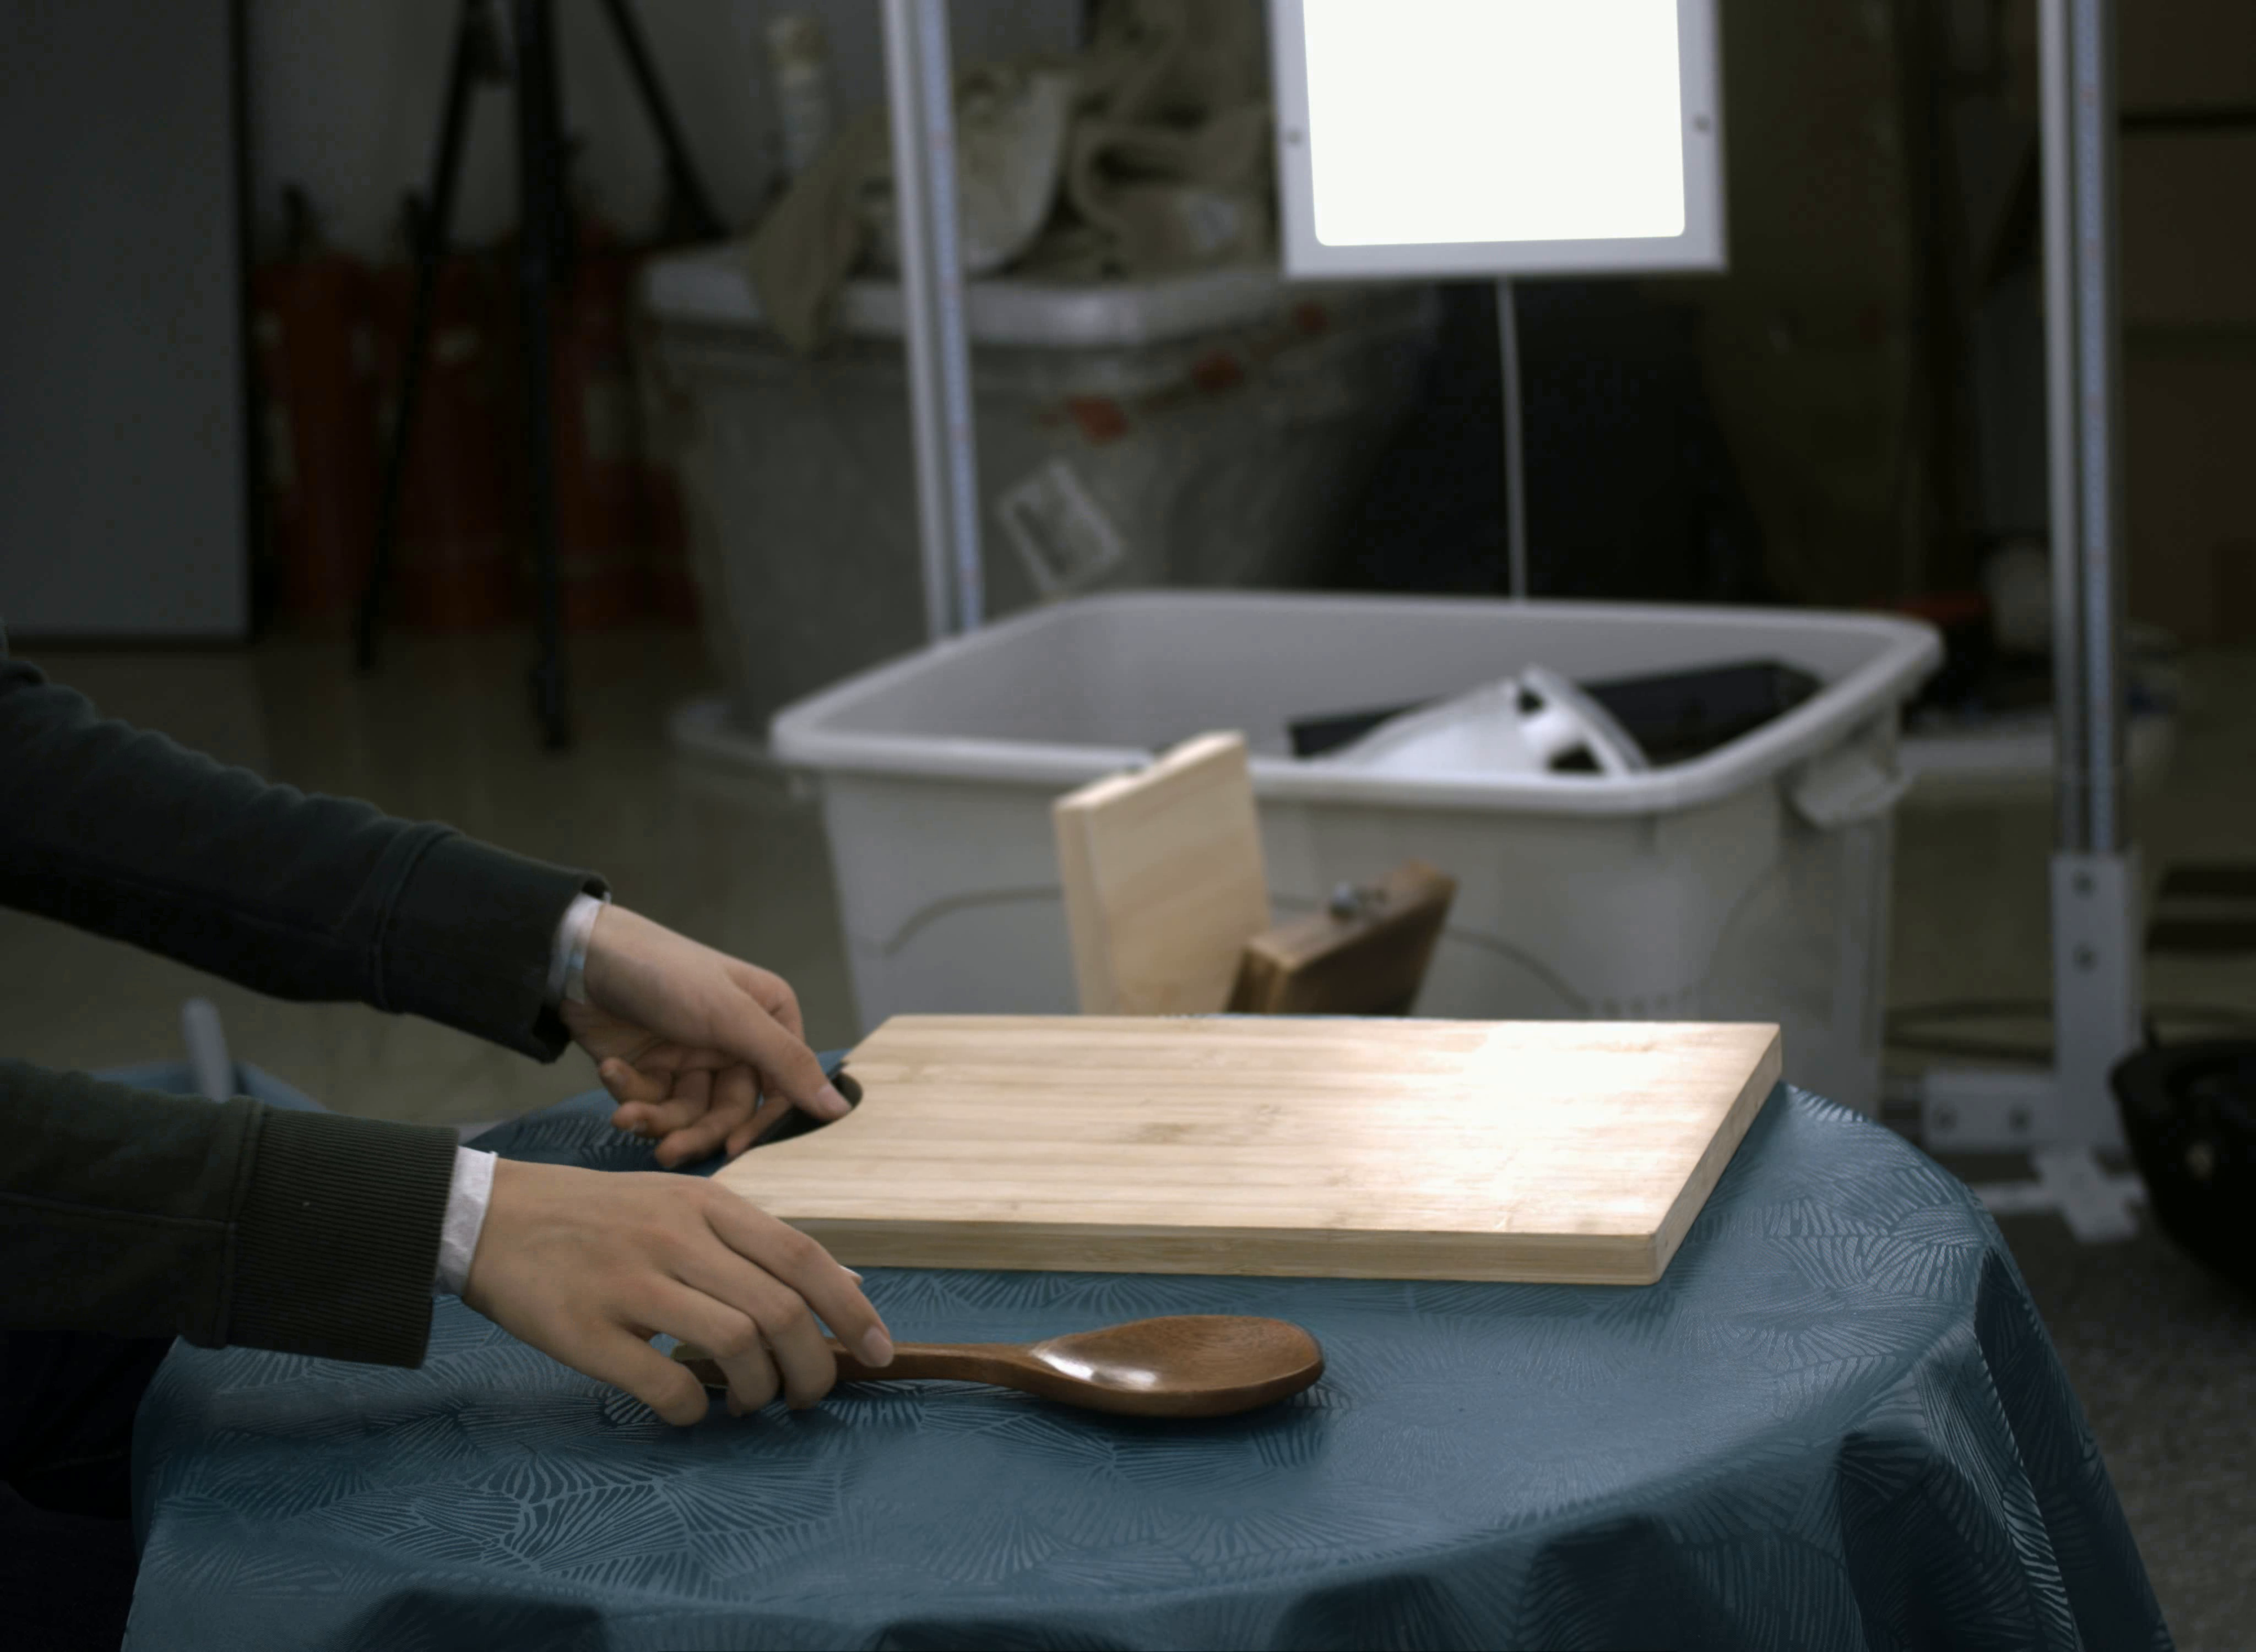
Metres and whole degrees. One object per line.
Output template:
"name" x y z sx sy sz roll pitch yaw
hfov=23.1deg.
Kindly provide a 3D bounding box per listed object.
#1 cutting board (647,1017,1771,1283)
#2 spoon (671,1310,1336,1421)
"cutting board" 0.034 0.110 1.920 0.353 0.023 0.247 -1 14 18
"spoon" -0.040 0.167 1.710 0.218 0.017 0.074 0 15 20
